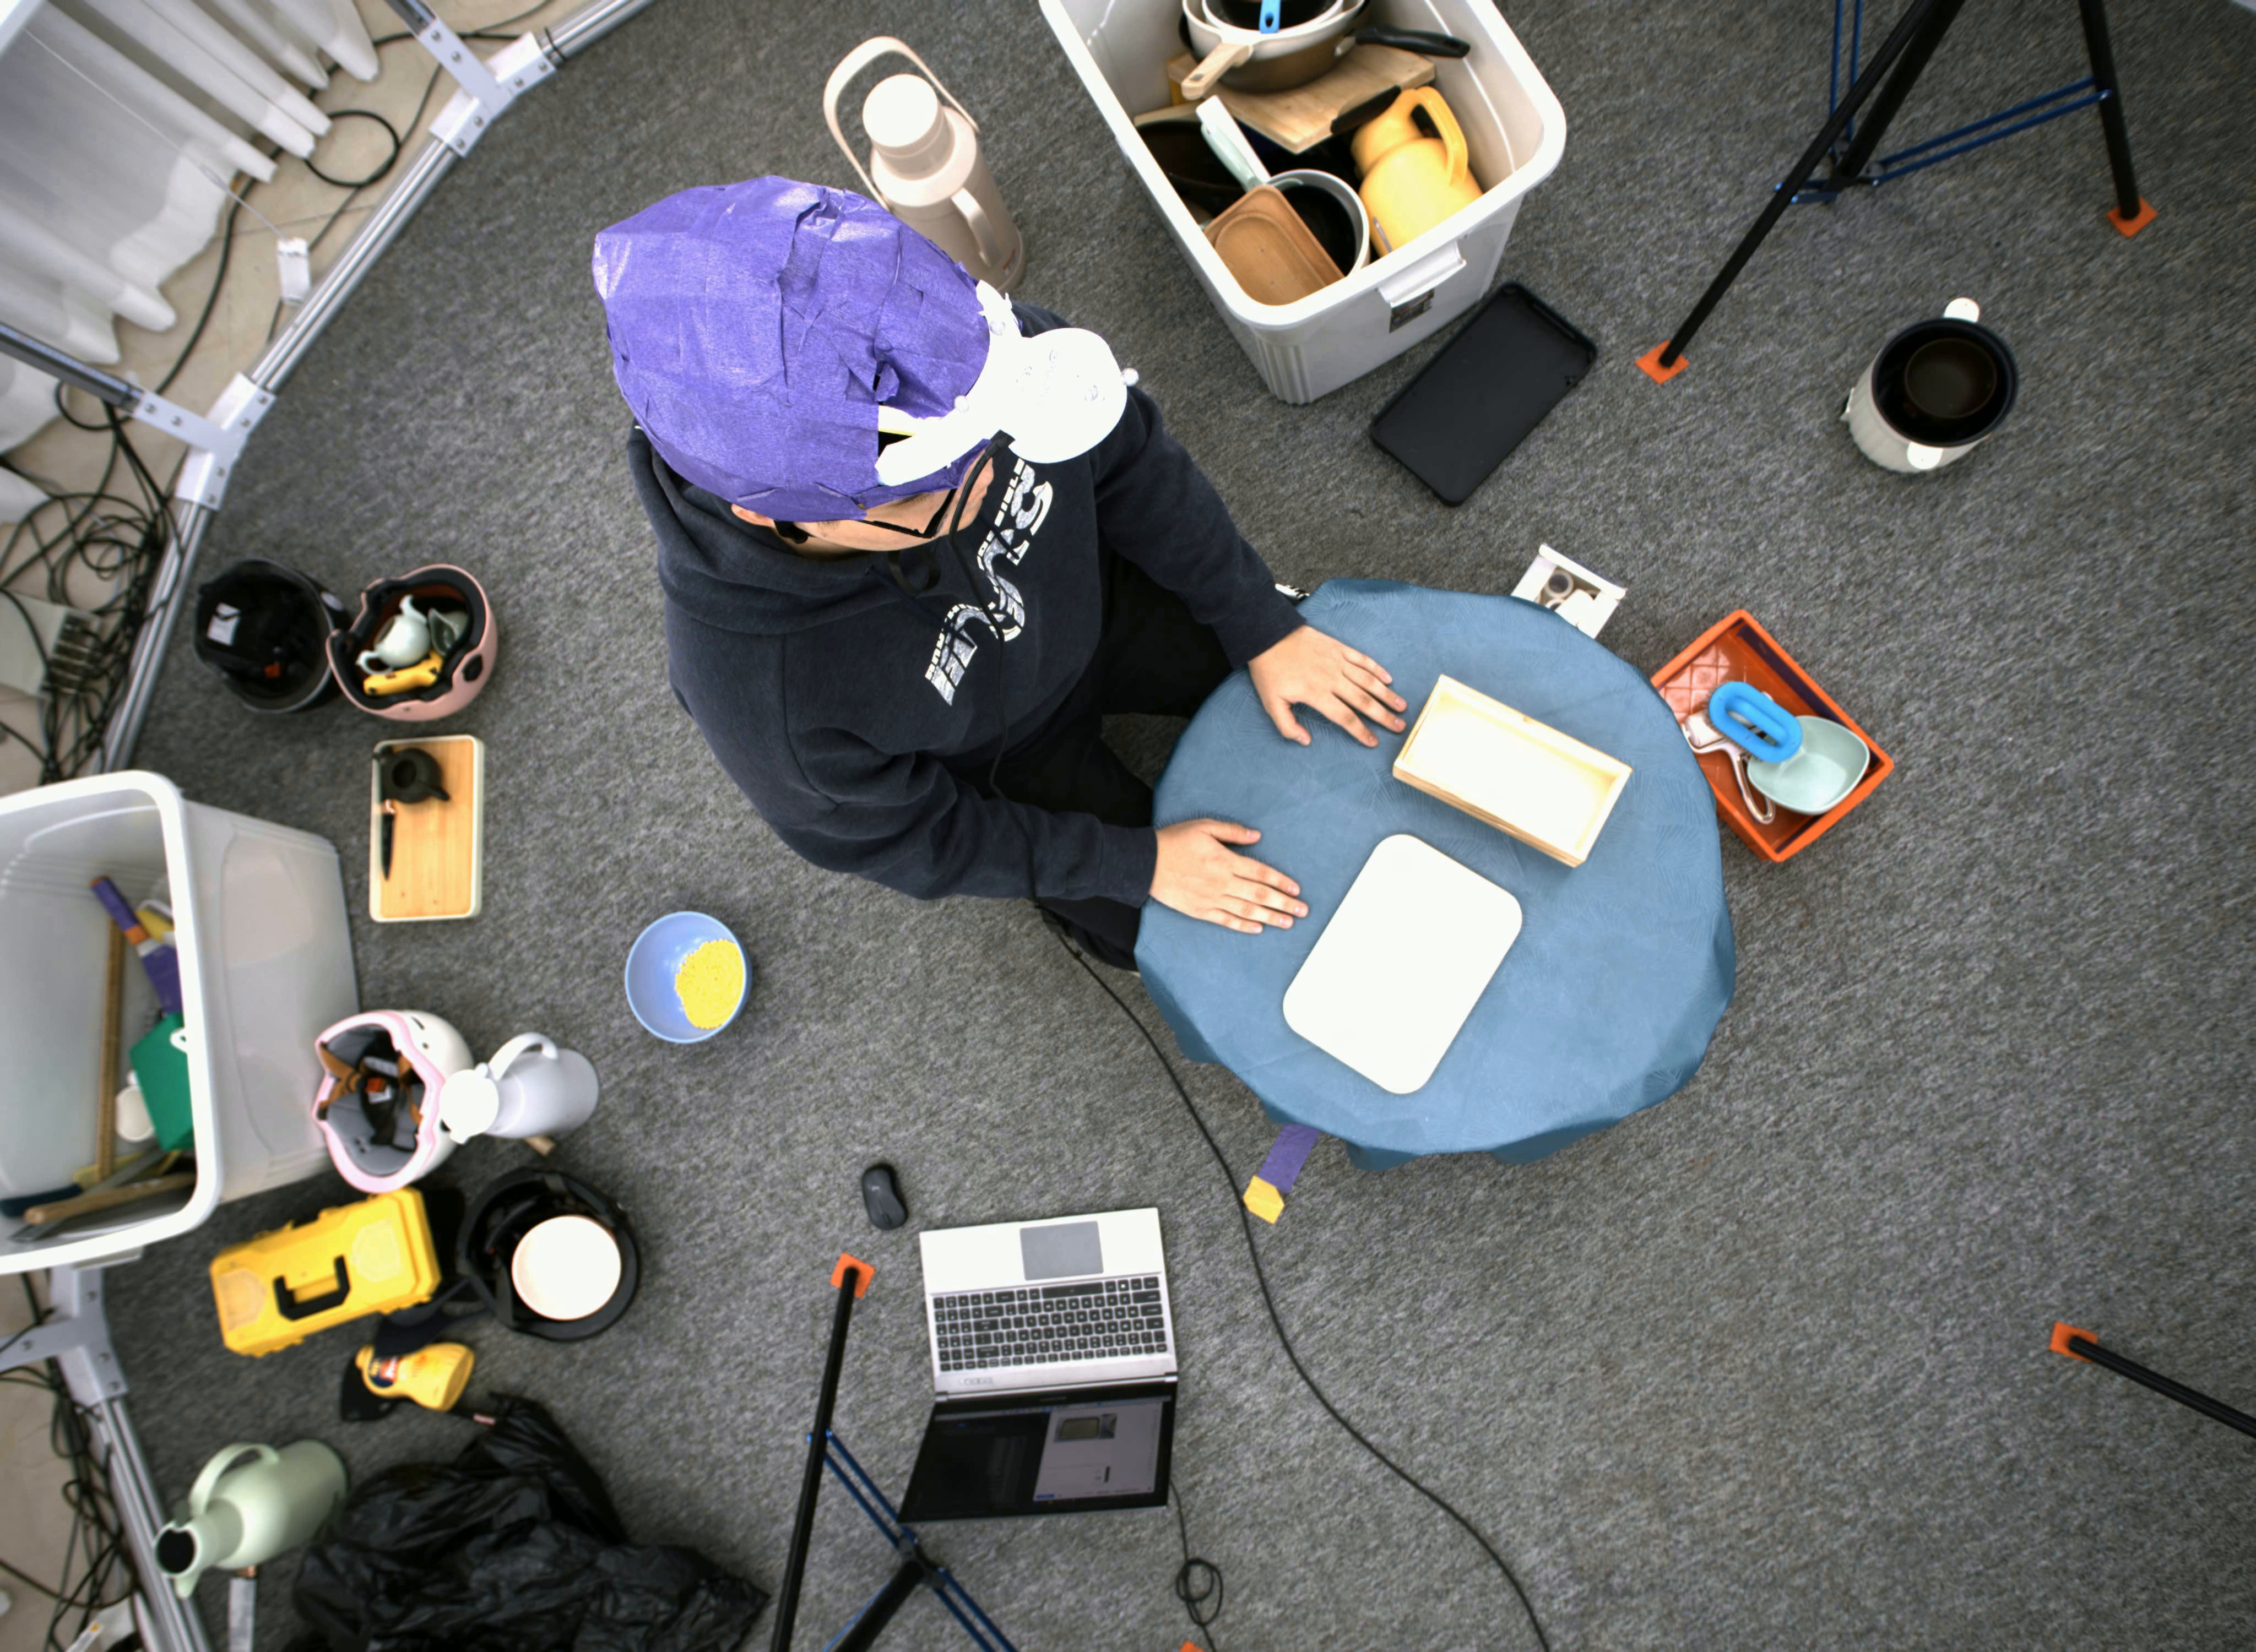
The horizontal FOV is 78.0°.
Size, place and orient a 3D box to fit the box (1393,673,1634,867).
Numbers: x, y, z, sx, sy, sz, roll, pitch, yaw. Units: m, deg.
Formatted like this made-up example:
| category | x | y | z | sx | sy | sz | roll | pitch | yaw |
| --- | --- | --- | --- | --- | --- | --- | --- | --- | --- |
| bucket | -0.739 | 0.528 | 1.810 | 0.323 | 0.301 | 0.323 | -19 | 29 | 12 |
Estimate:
| category | x | y | z | sx | sy | sz | roll | pitch | yaw |
| --- | --- | --- | --- | --- | --- | --- | --- | --- | --- |
| box | 0.390 | -0.059 | 1.405 | 0.211 | 0.080 | 0.107 | 28 | 90 | 11 |

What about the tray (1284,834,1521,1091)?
| category | x | y | z | sx | sy | sz | roll | pitch | yaw |
| --- | --- | --- | --- | --- | --- | --- | --- | --- | --- |
| tray | 0.286 | 0.141 | 1.445 | 0.171 | 0.017 | 0.240 | 32 | 93 | 12 |
